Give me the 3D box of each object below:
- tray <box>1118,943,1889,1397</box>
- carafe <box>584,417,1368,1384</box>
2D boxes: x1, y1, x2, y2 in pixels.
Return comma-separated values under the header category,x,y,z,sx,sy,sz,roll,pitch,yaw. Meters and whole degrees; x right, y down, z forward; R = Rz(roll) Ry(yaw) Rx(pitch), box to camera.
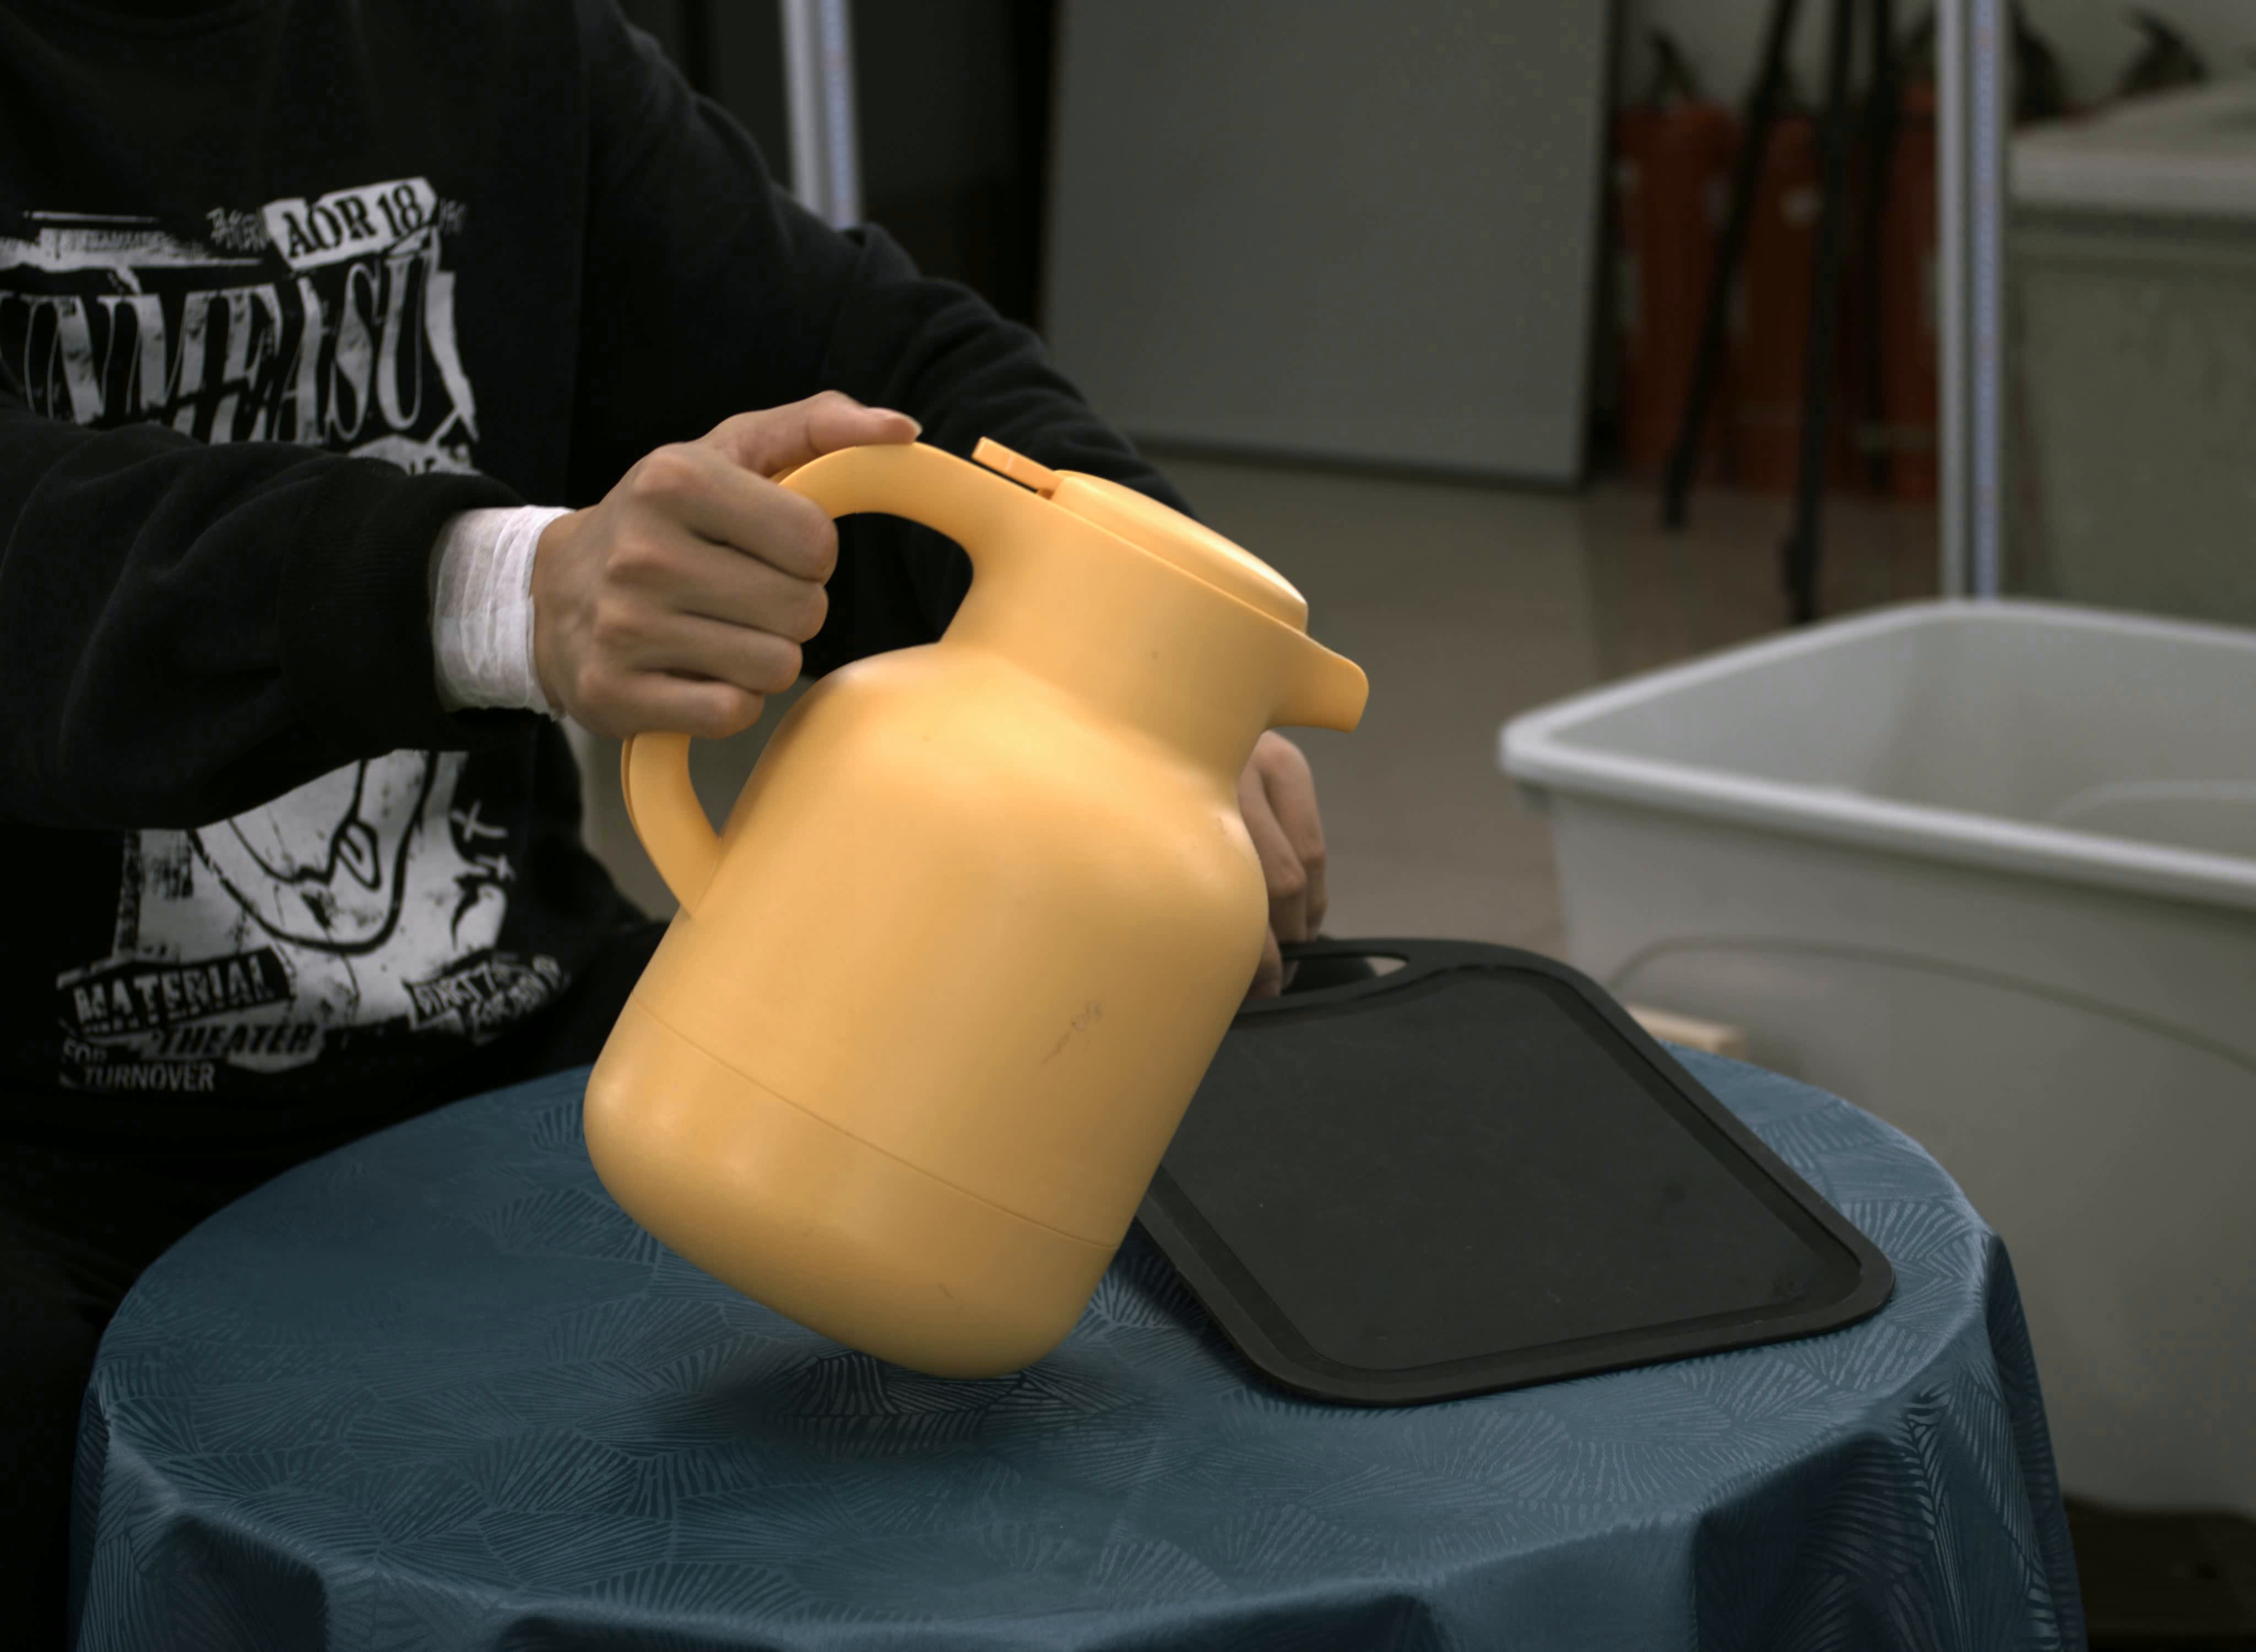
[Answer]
category,x,y,z,sx,sy,sz,roll,pitch,yaw
tray,0.093,0.101,1.720,0.207,0.010,0.328,-8,23,-16
carafe,-0.058,0.012,1.581,0.200,0.262,0.164,27,0,-9
